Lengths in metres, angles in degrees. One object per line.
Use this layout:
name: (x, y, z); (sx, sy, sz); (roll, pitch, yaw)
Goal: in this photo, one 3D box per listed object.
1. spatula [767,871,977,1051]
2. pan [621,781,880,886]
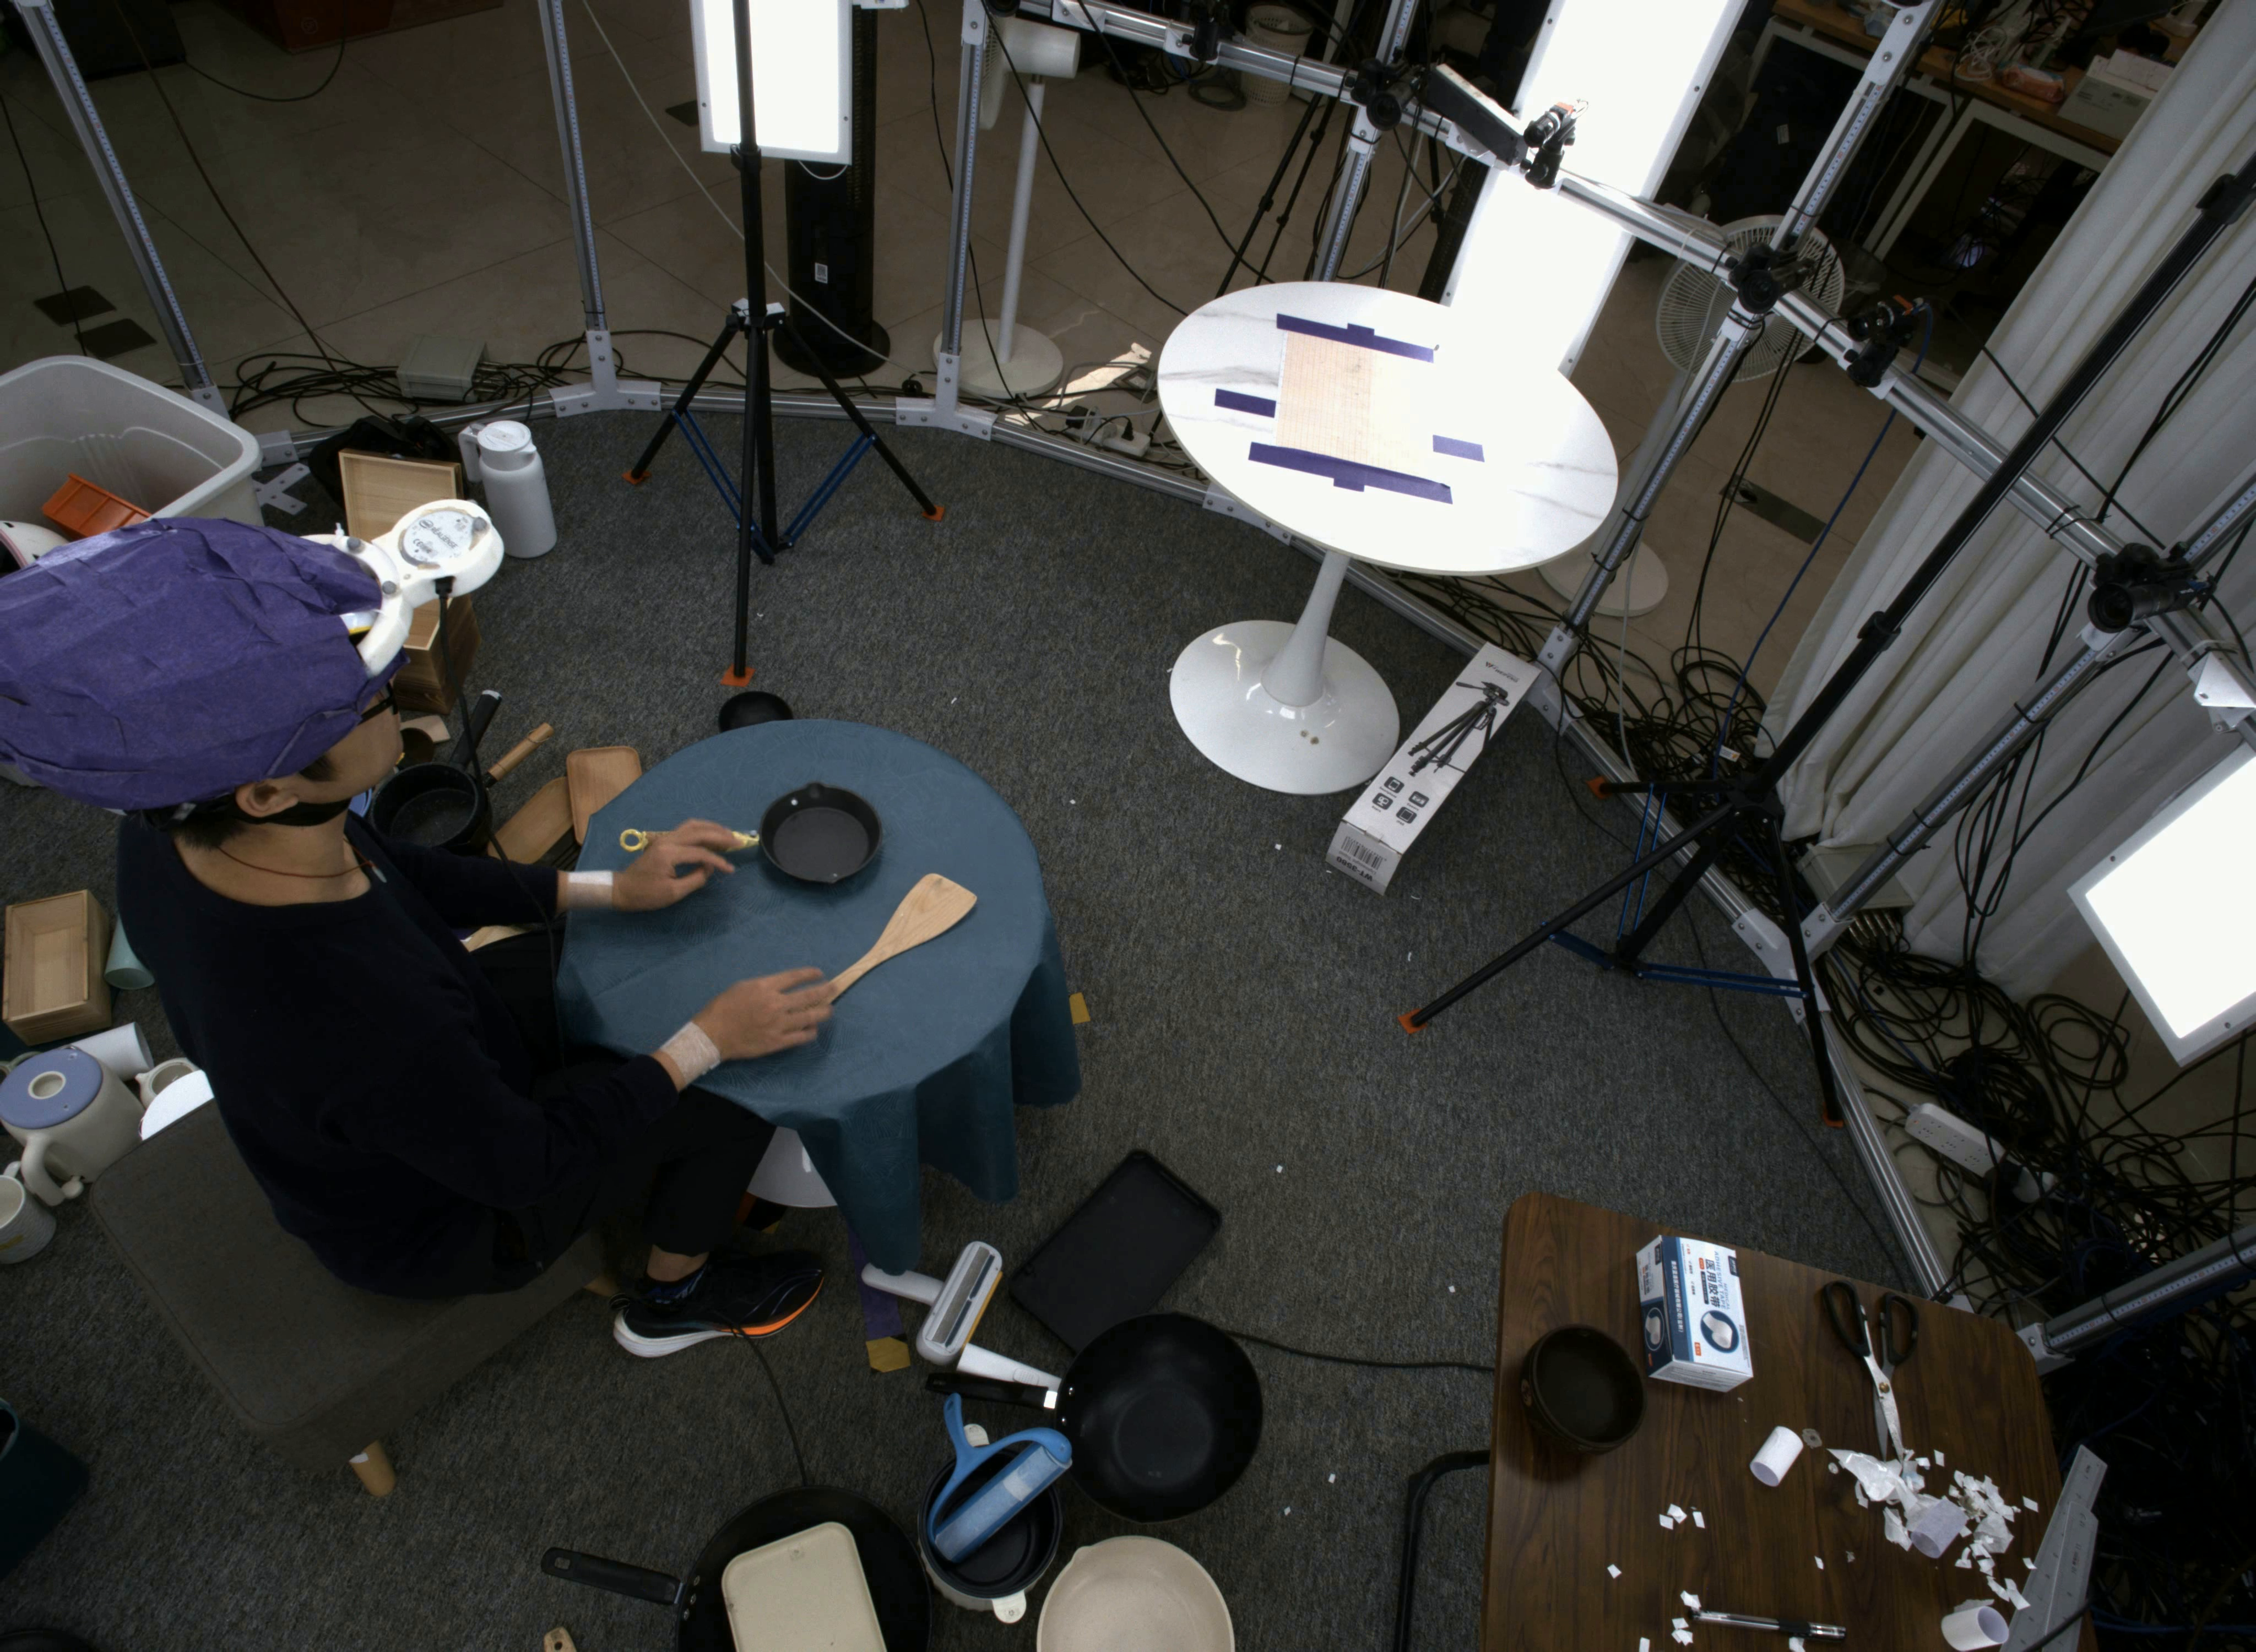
spatula: (-0.321, 0.163, 1.608); (0.078, 0.017, 0.327); (37, 53, 15)
pan: (-0.481, 0.015, 1.654); (0.326, 0.050, 0.165); (-3, 55, -19)
